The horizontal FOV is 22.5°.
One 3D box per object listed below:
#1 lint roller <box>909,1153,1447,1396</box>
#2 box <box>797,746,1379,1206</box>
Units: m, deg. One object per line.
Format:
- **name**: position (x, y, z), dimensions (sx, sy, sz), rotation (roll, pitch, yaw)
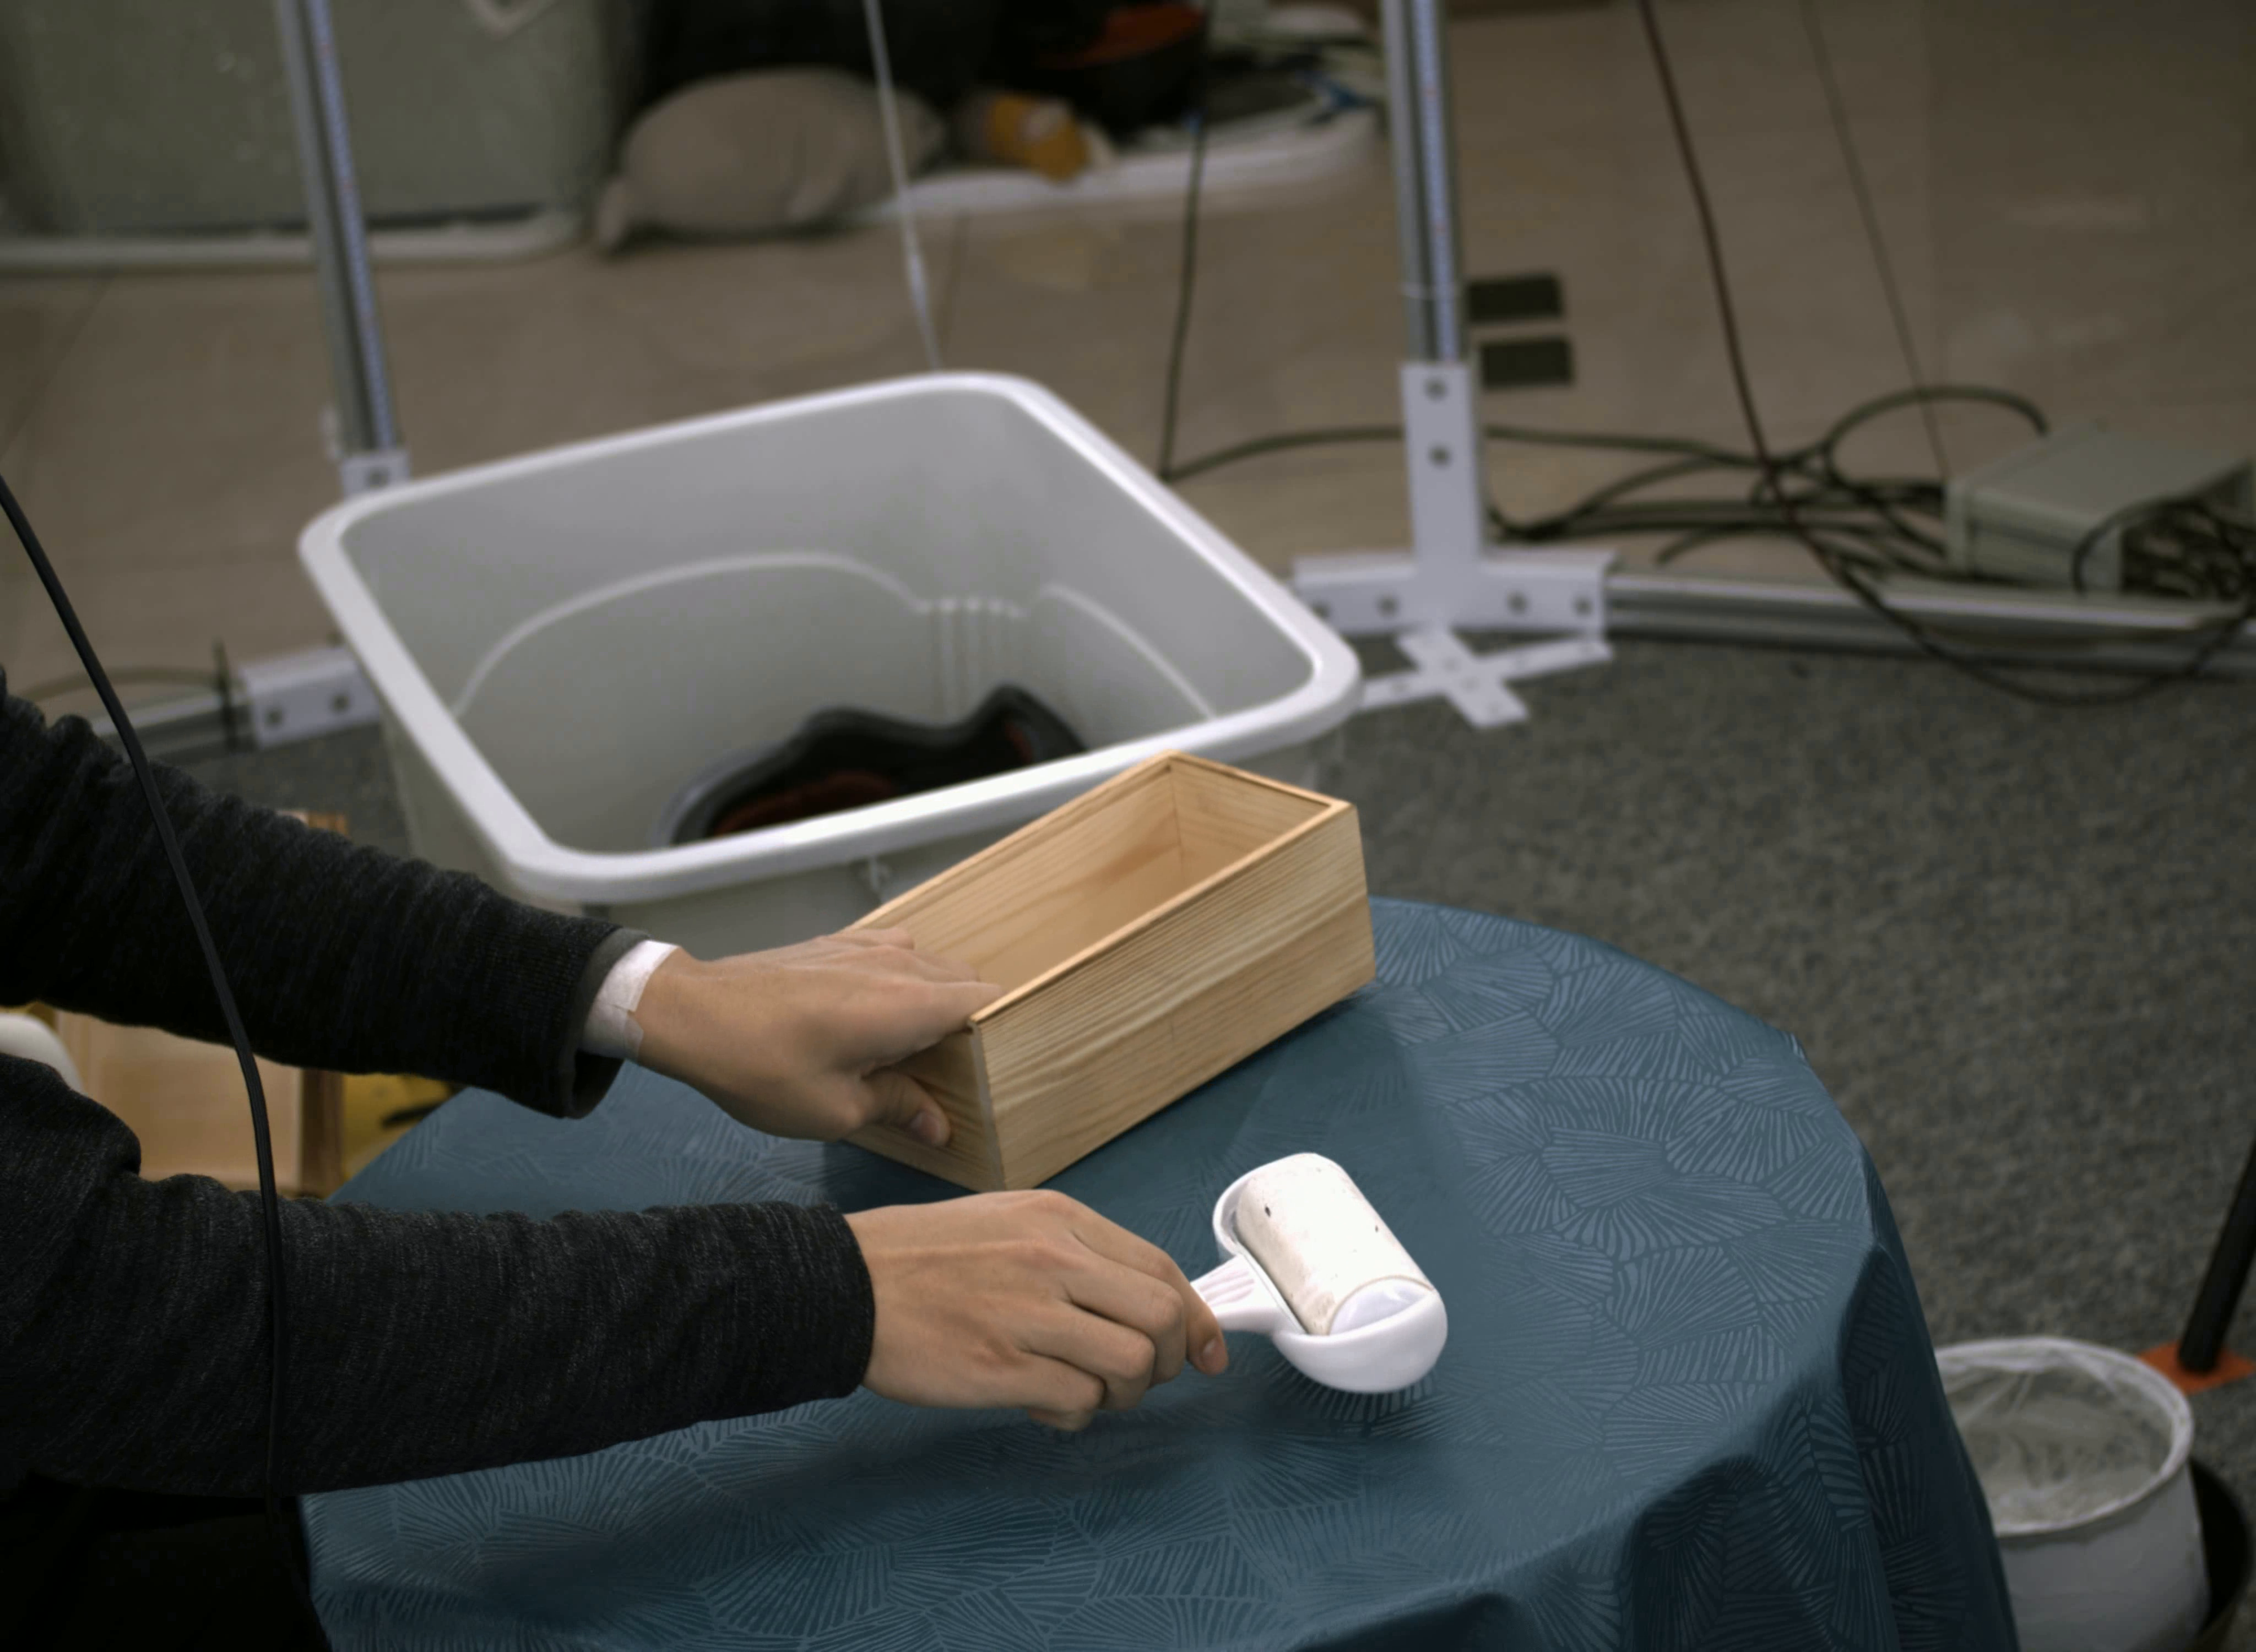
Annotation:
- **lint roller**: position (0.011, 0.162, 1.979), dimensions (0.180, 0.051, 0.131), rotation (-5, 24, -14)
- **box**: position (-0.014, 0.056, 2.227), dimensions (0.106, 0.081, 0.209), rotation (19, 38, 42)
